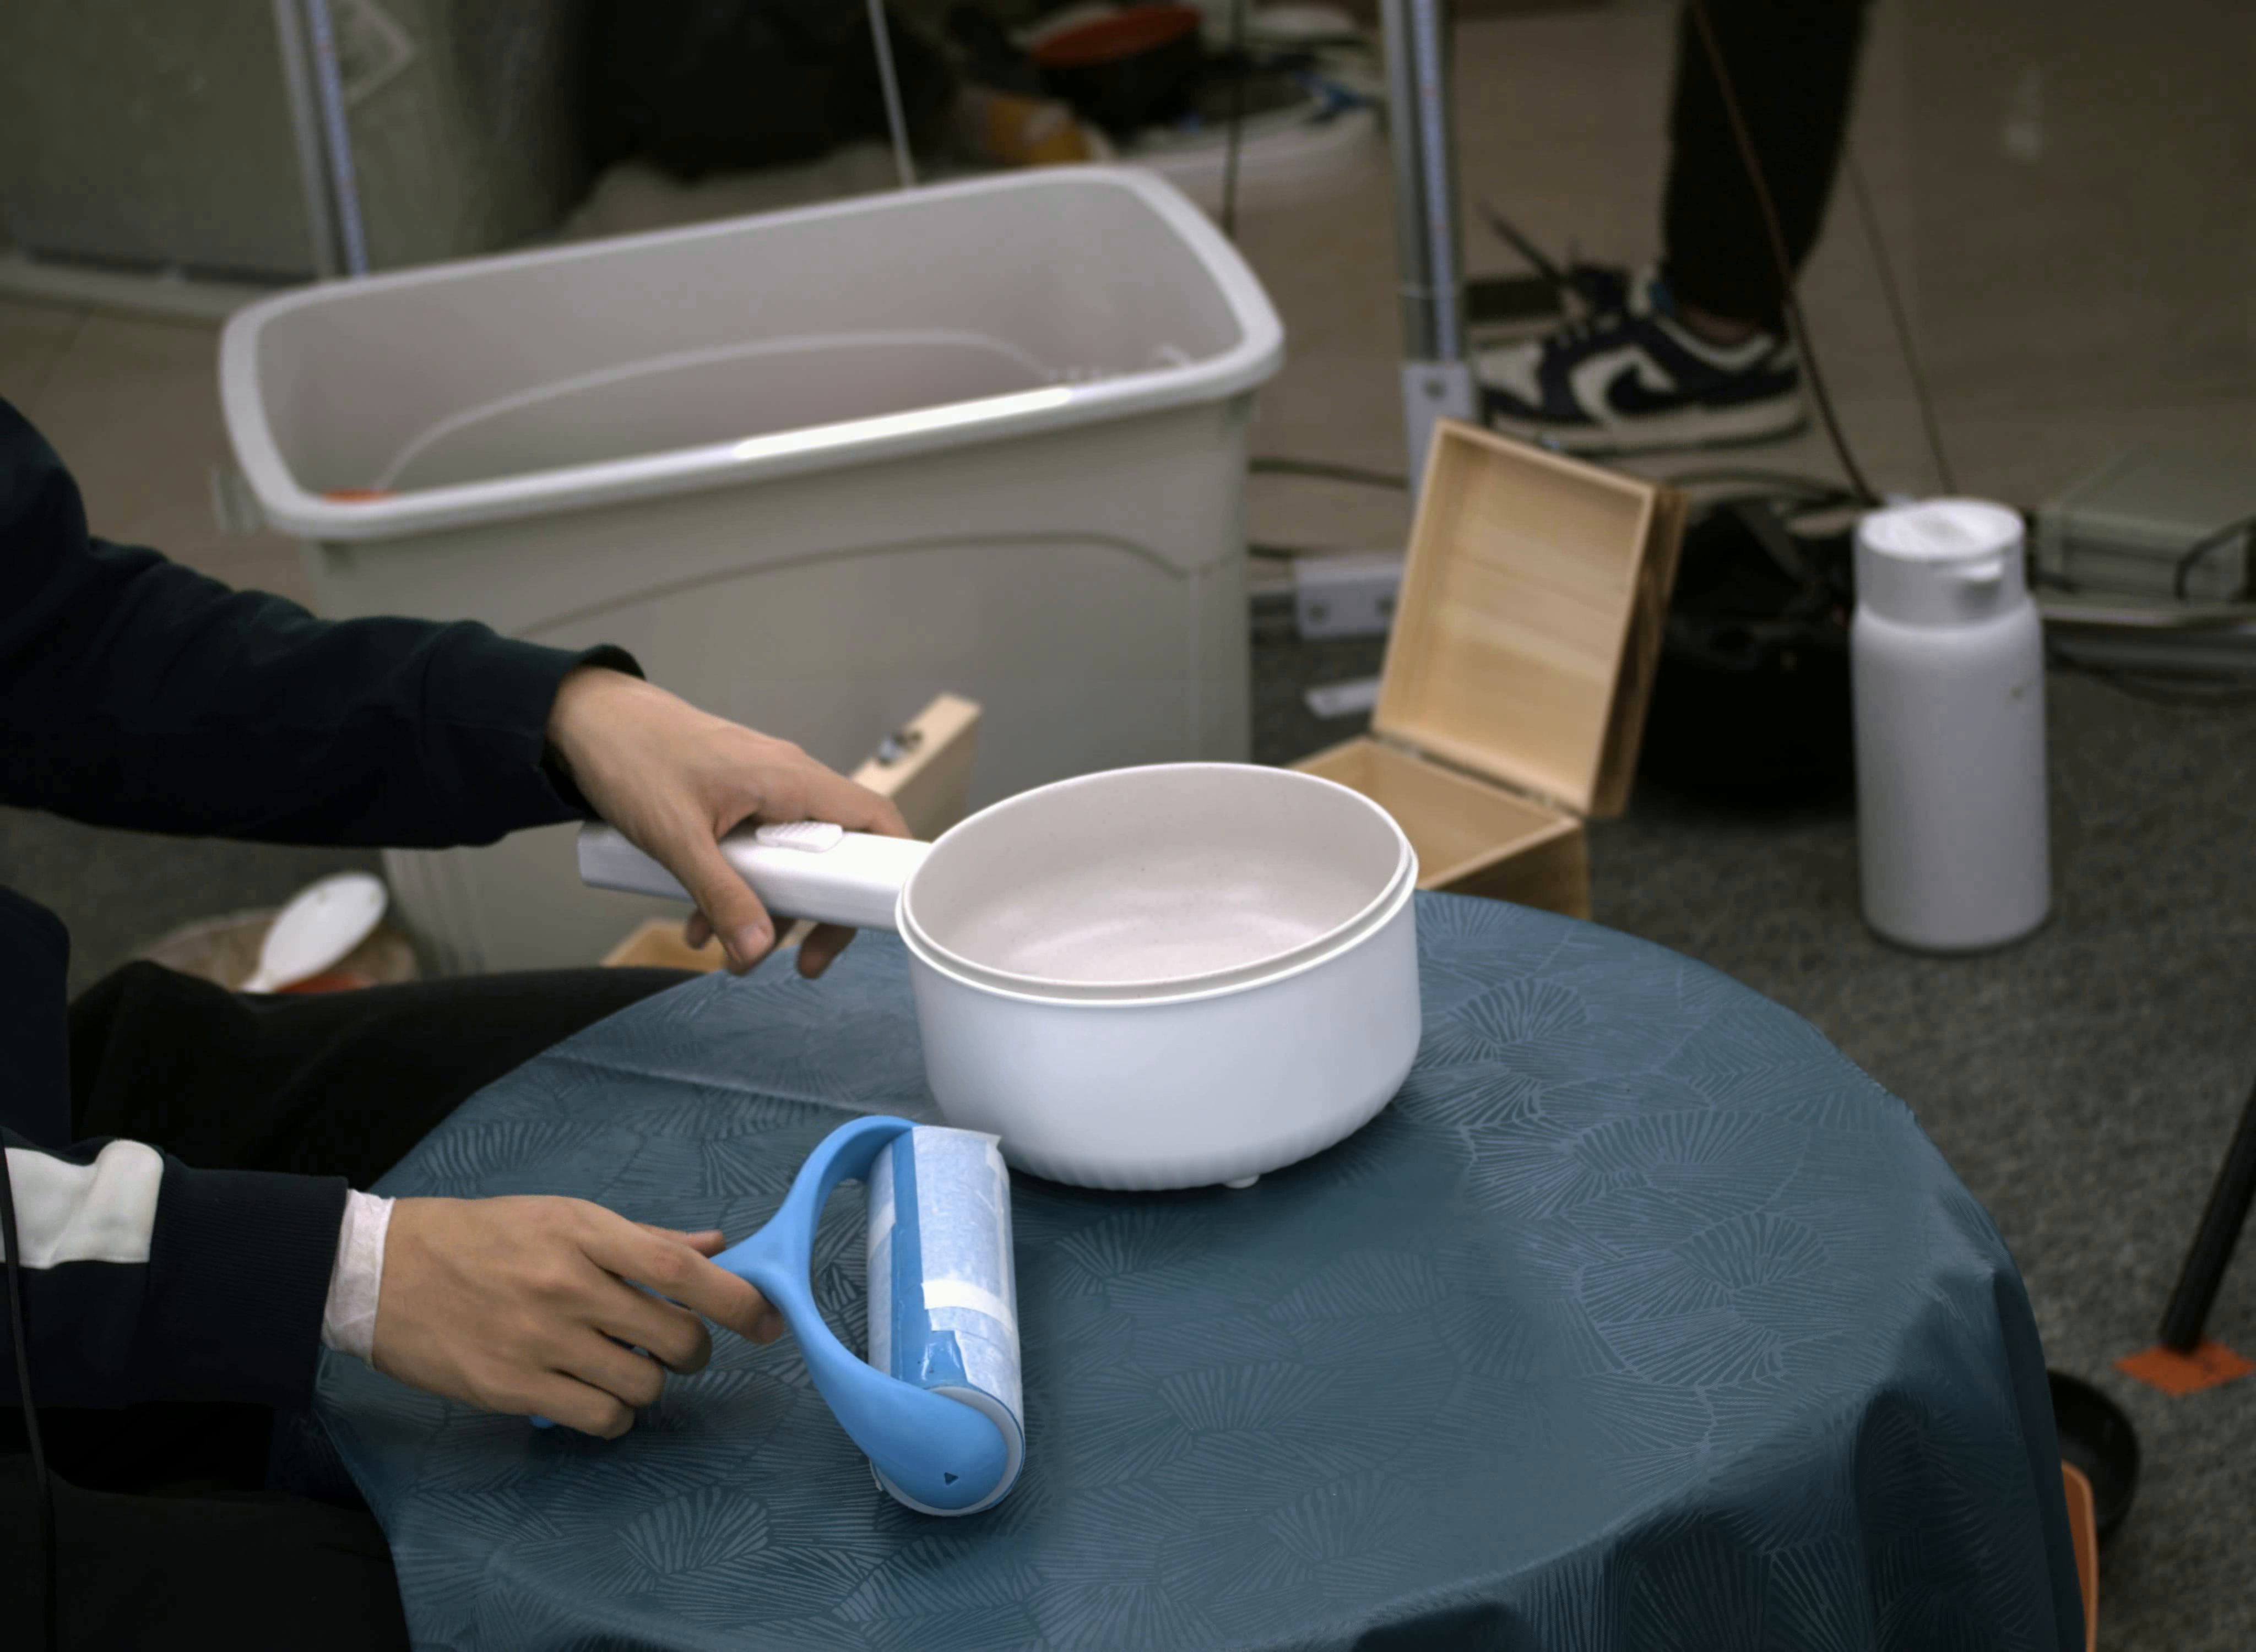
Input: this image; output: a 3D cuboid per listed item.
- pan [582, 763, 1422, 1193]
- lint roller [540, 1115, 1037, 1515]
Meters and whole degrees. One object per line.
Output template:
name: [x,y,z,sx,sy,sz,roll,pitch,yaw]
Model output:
pan: [-0.053,0.054,2.219,0.353,0.104,0.198,7,29,27]
lint roller: [-0.123,0.180,2.020,0.180,0.069,0.225,-7,27,-3]
